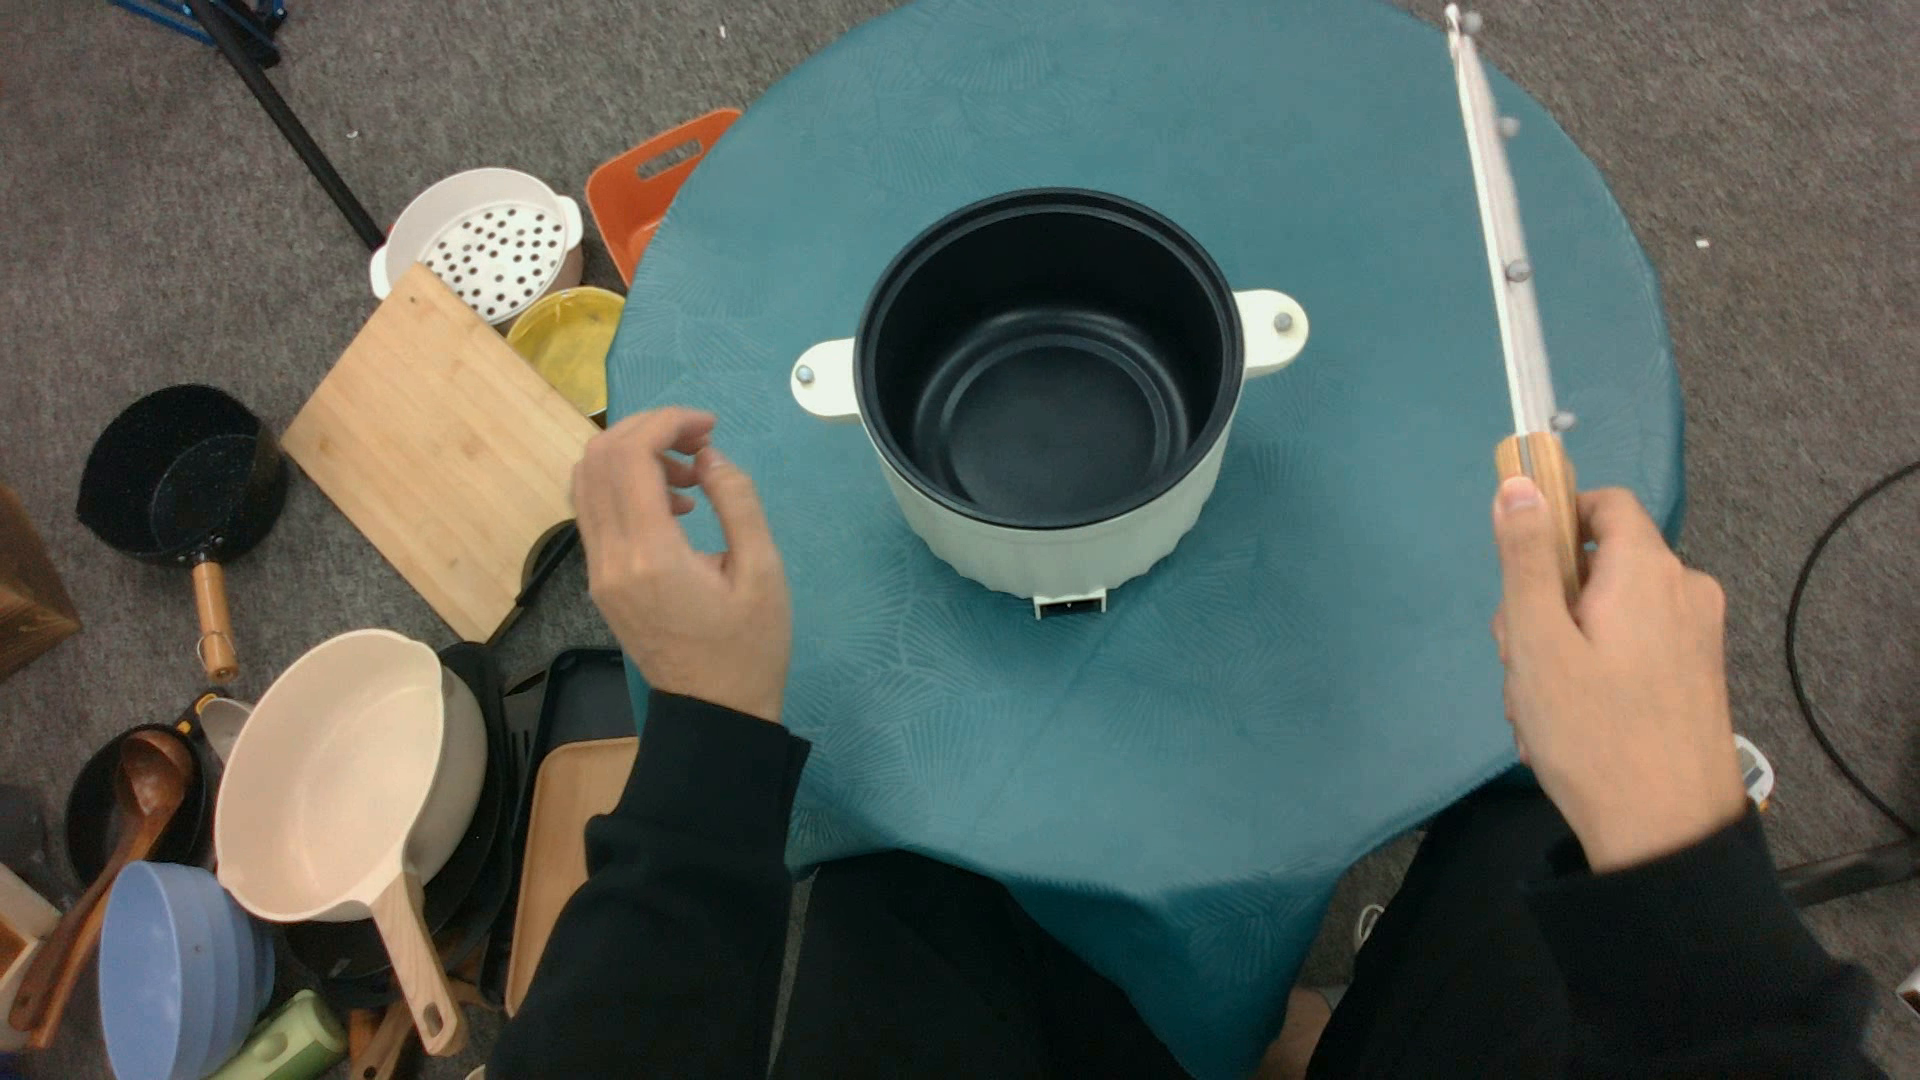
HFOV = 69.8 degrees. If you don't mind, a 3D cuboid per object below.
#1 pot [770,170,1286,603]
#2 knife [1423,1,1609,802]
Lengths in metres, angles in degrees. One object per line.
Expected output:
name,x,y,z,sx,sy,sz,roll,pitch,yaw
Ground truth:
pot,0.034,-0.076,0.696,0.240,0.142,0.191,-7,71,1
knife,0.205,-0.061,0.516,0.021,0.114,0.316,-12,68,30
